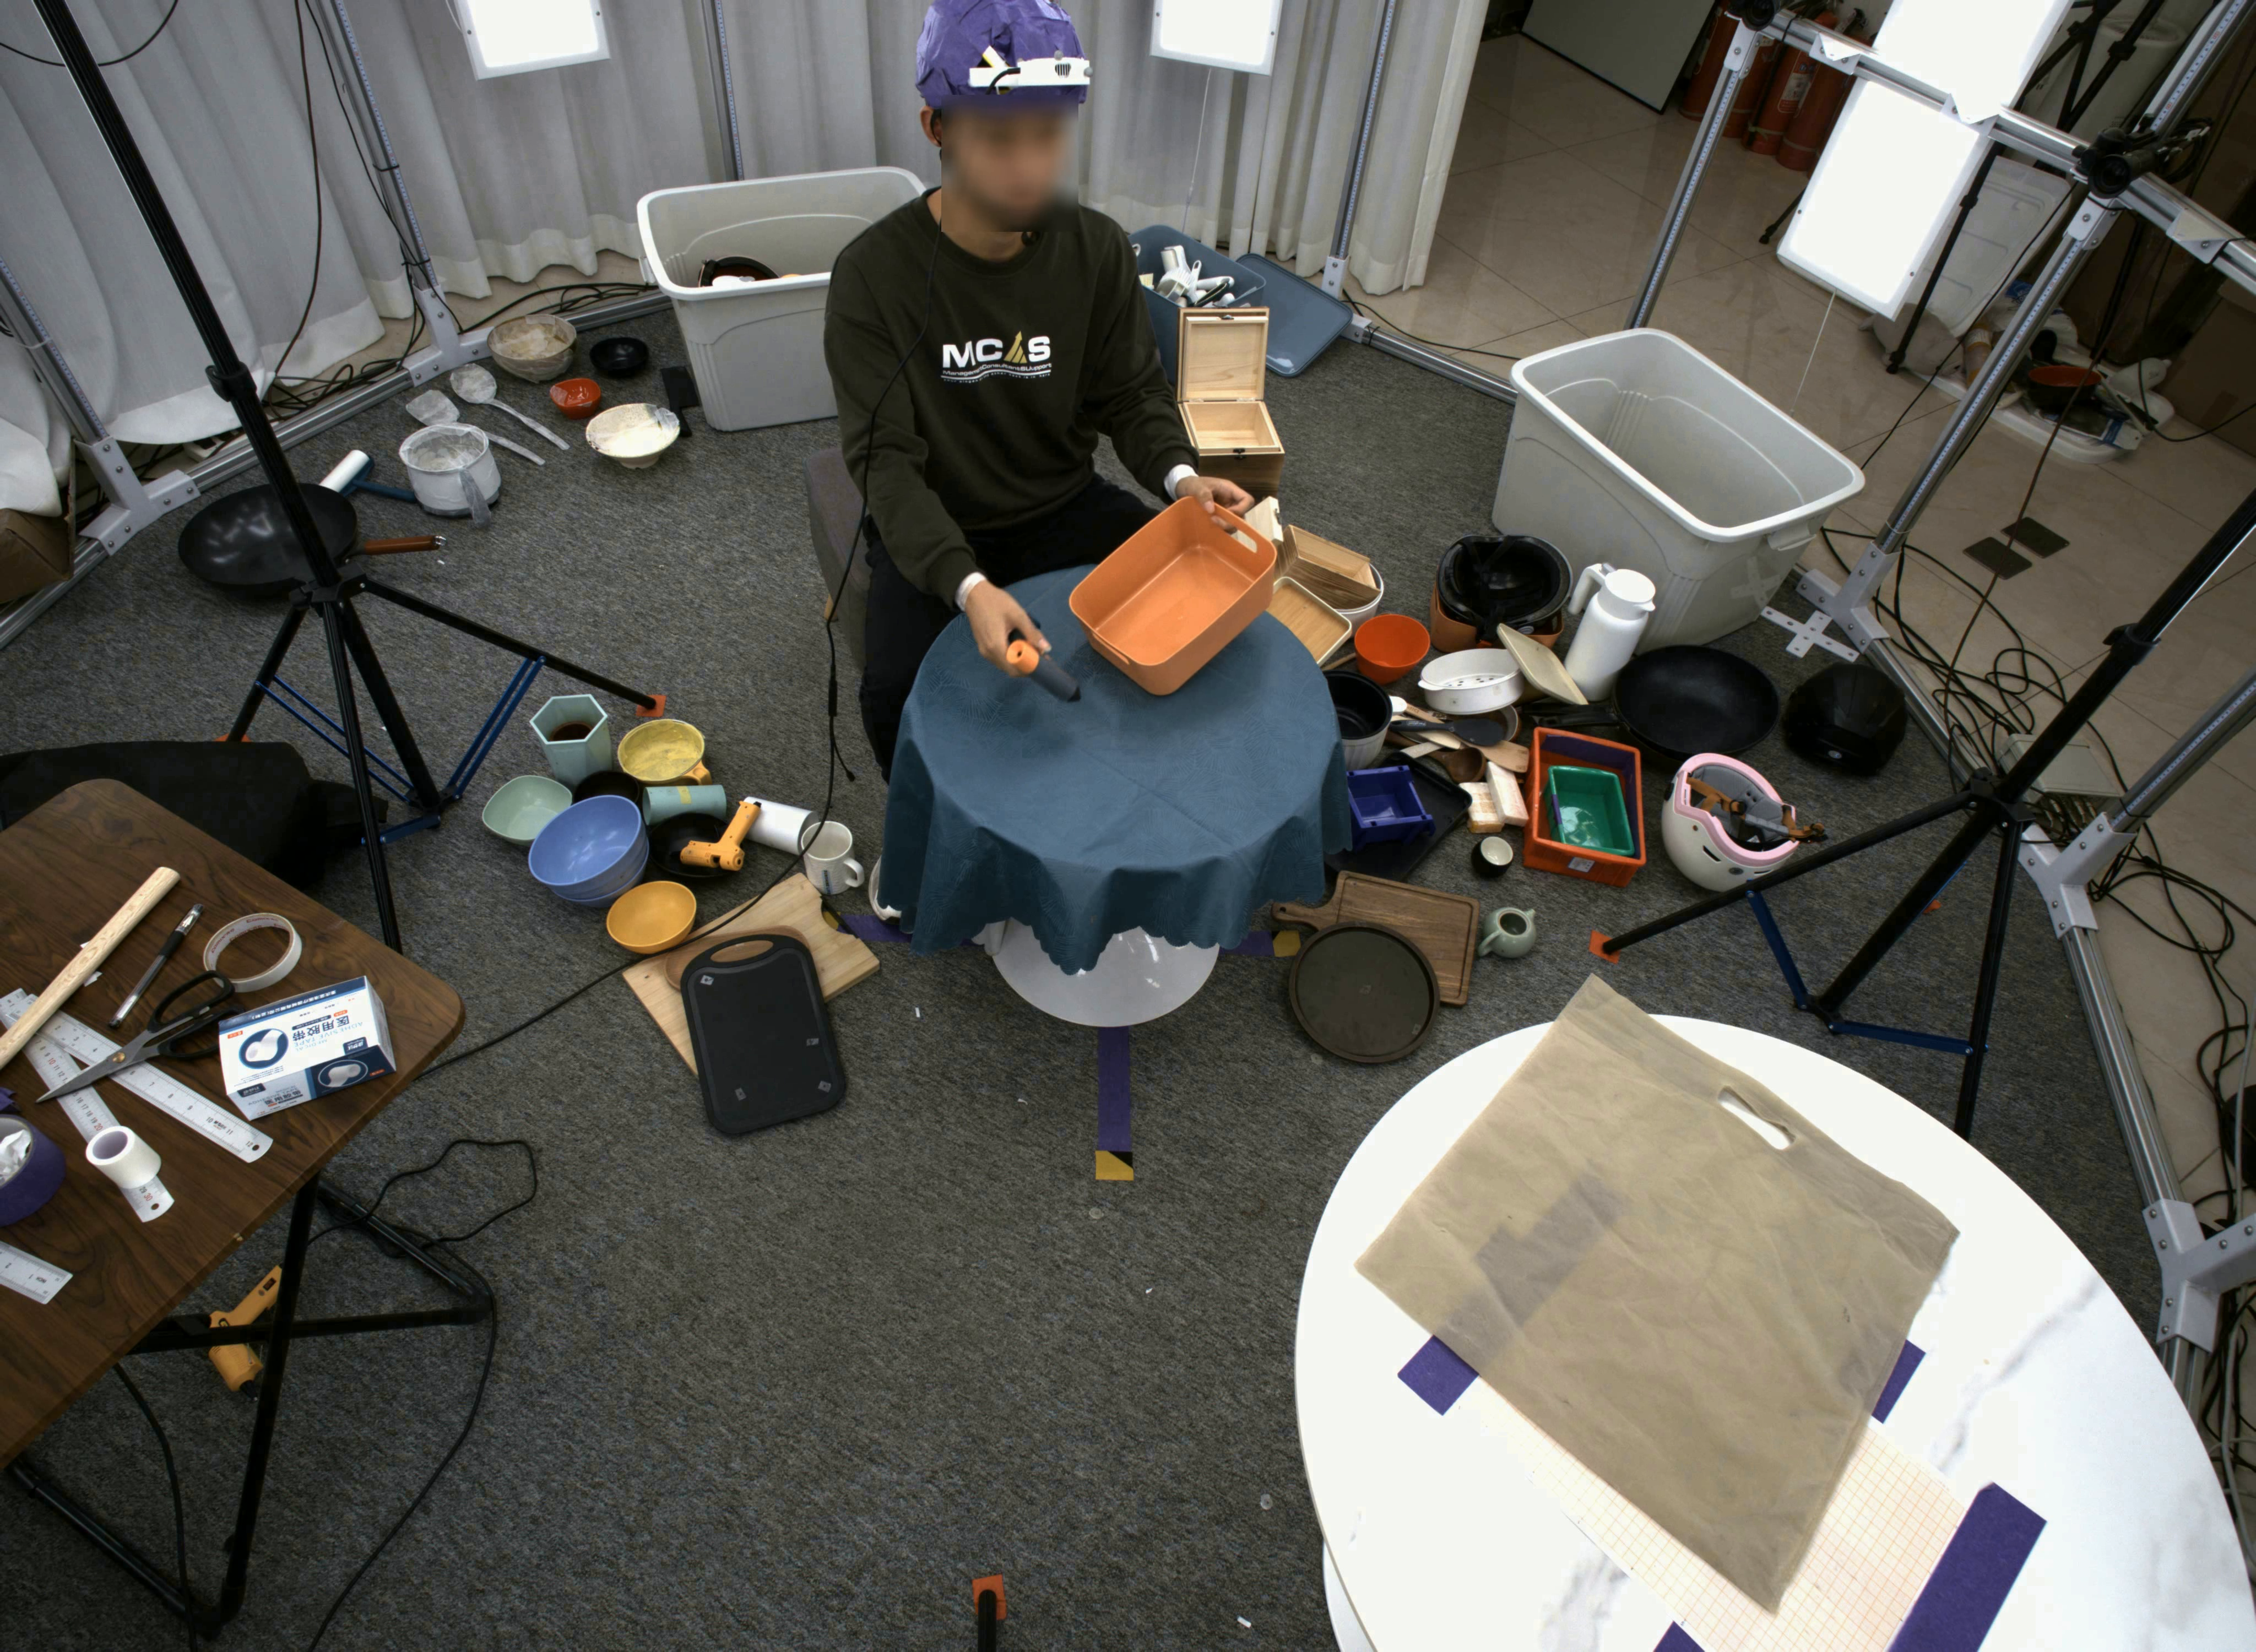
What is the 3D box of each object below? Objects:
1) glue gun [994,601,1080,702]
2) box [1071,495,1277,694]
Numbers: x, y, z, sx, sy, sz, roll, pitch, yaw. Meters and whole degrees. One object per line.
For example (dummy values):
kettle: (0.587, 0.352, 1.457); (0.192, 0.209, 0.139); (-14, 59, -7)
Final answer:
glue gun: (-0.123, -0.235, 1.741); (0.041, 0.116, 0.143); (-41, 52, 15)
box: (0.071, -0.328, 1.845); (0.275, 0.100, 0.202); (-43, 61, -14)
